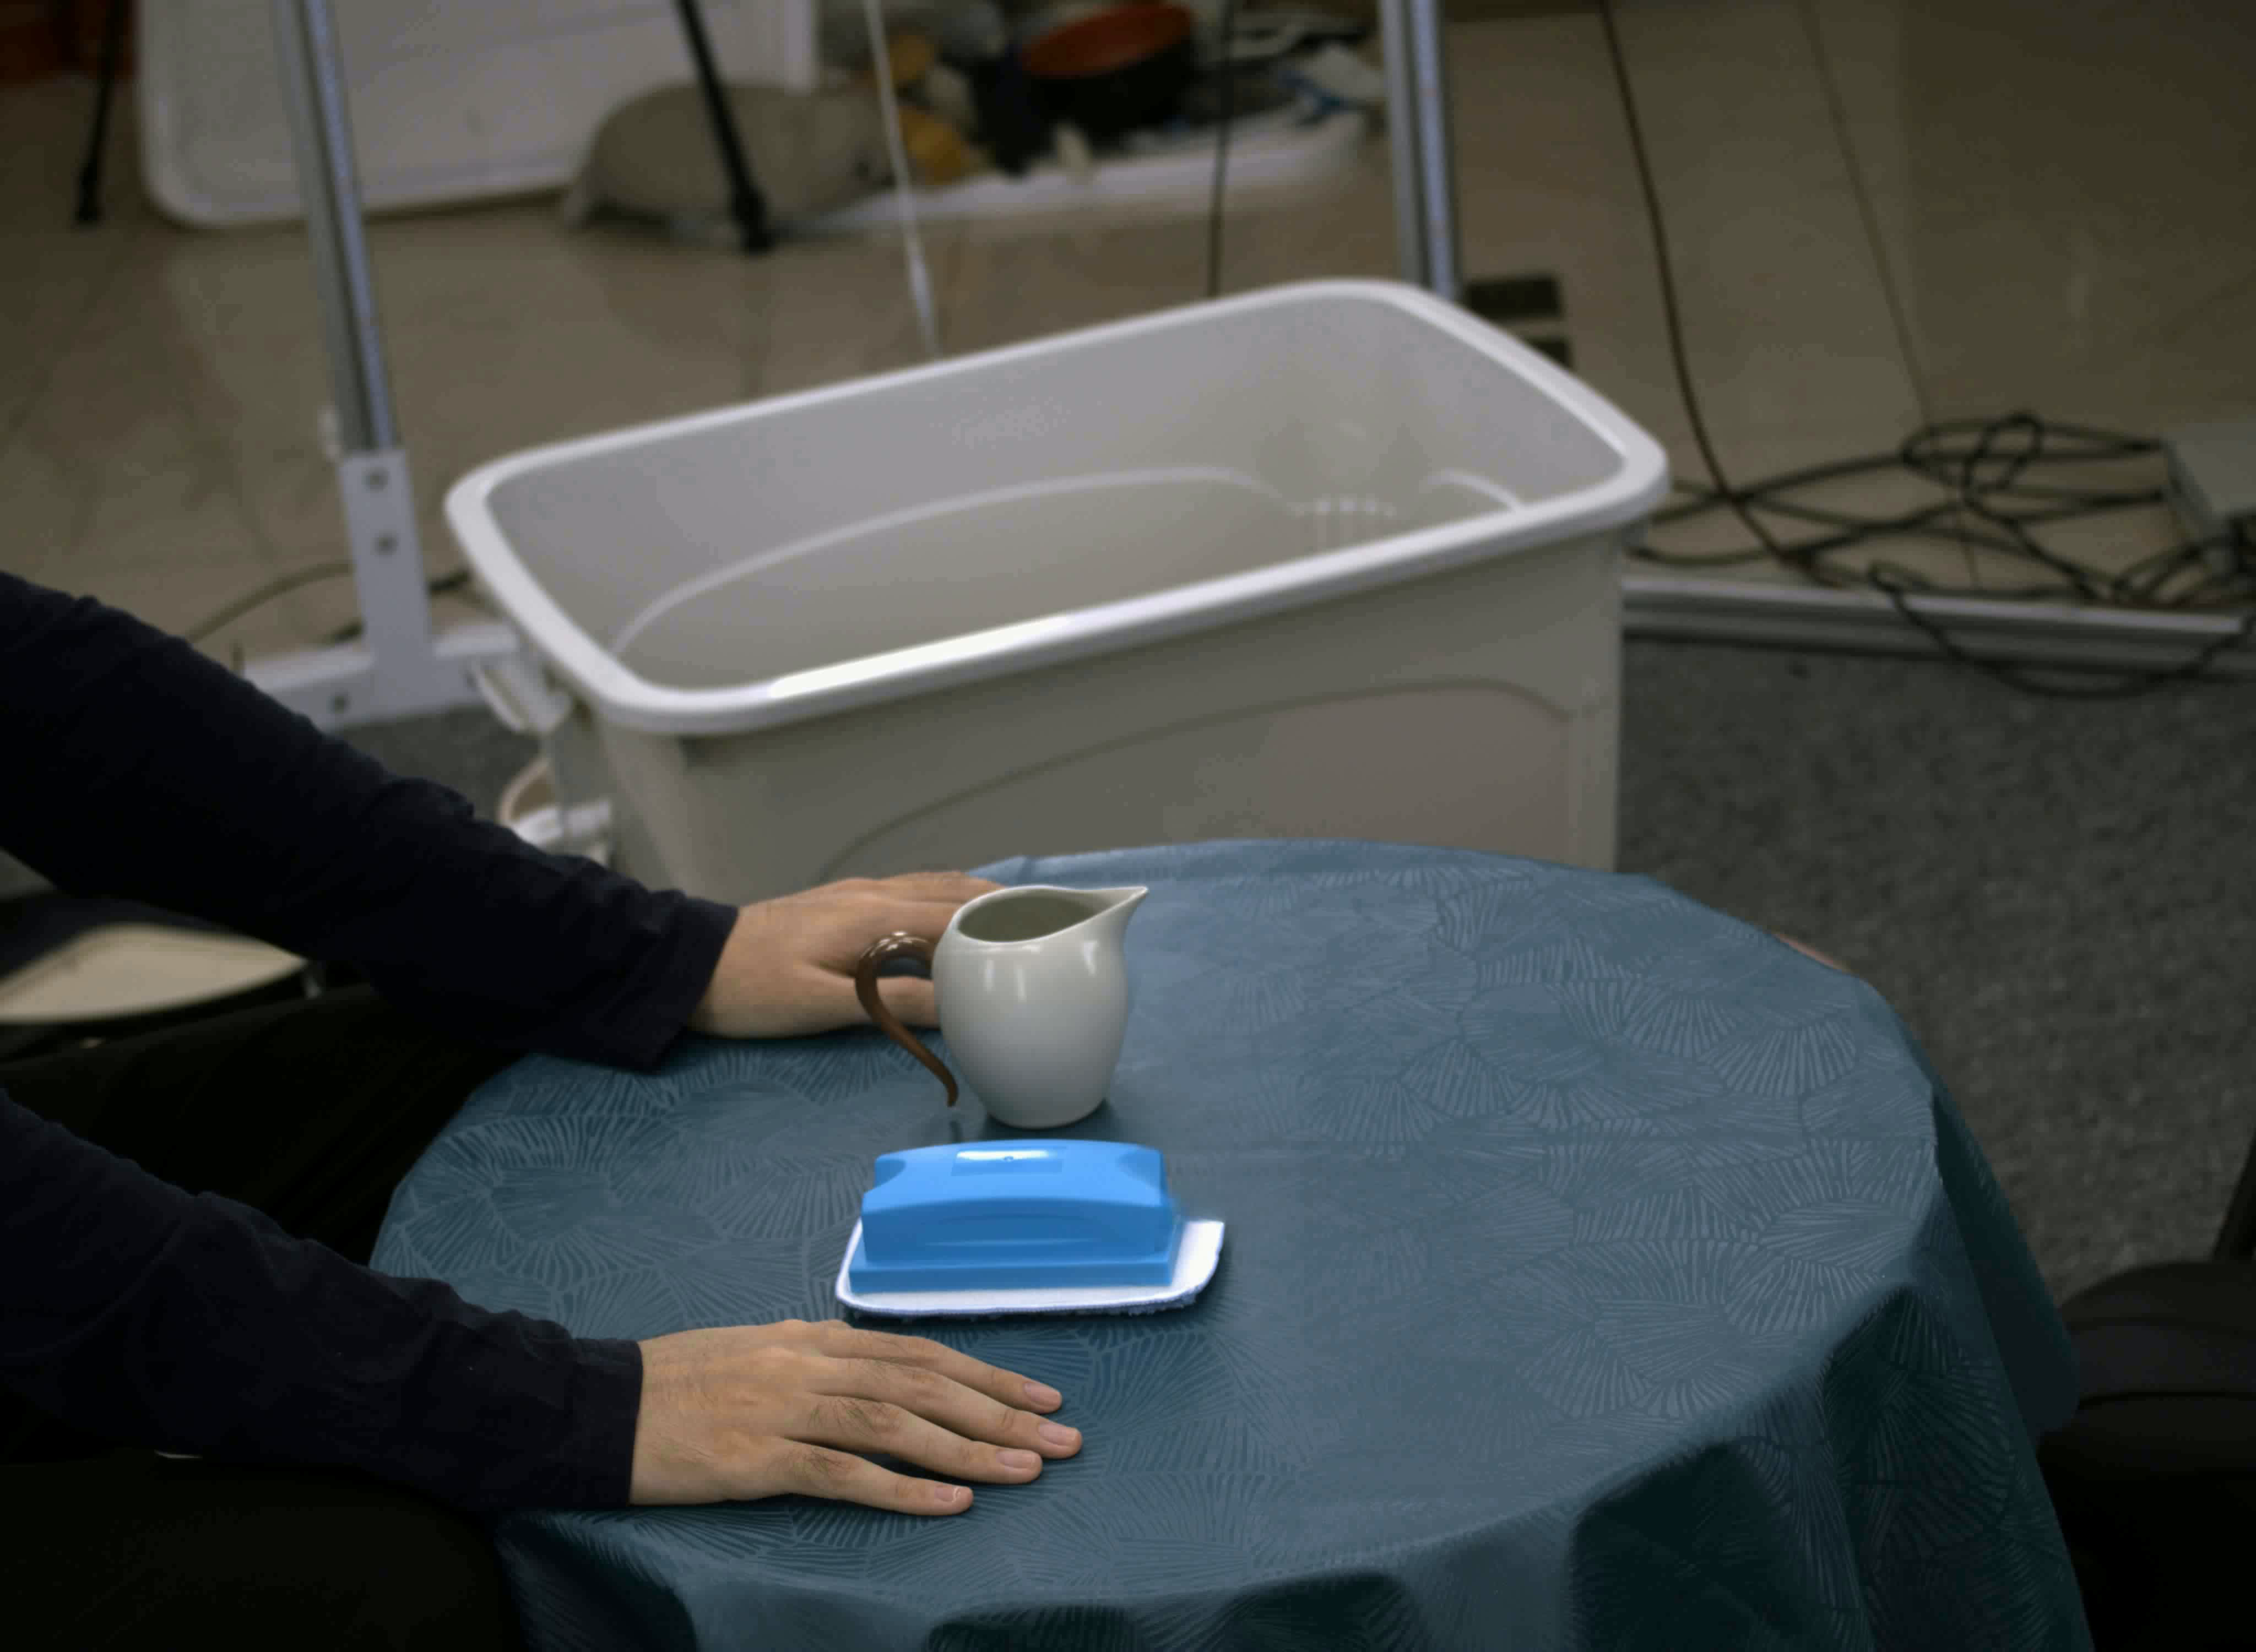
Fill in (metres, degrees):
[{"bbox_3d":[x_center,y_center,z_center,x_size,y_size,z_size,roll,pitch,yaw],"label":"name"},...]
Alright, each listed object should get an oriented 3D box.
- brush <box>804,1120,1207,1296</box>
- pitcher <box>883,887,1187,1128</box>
[{"bbox_3d":[-0.045,0.139,2.086,0.143,0.057,0.083,1,24,11],"label":"brush"},{"bbox_3d":[-0.035,0.069,2.202,0.119,0.089,0.075,0,21,5],"label":"pitcher"}]
